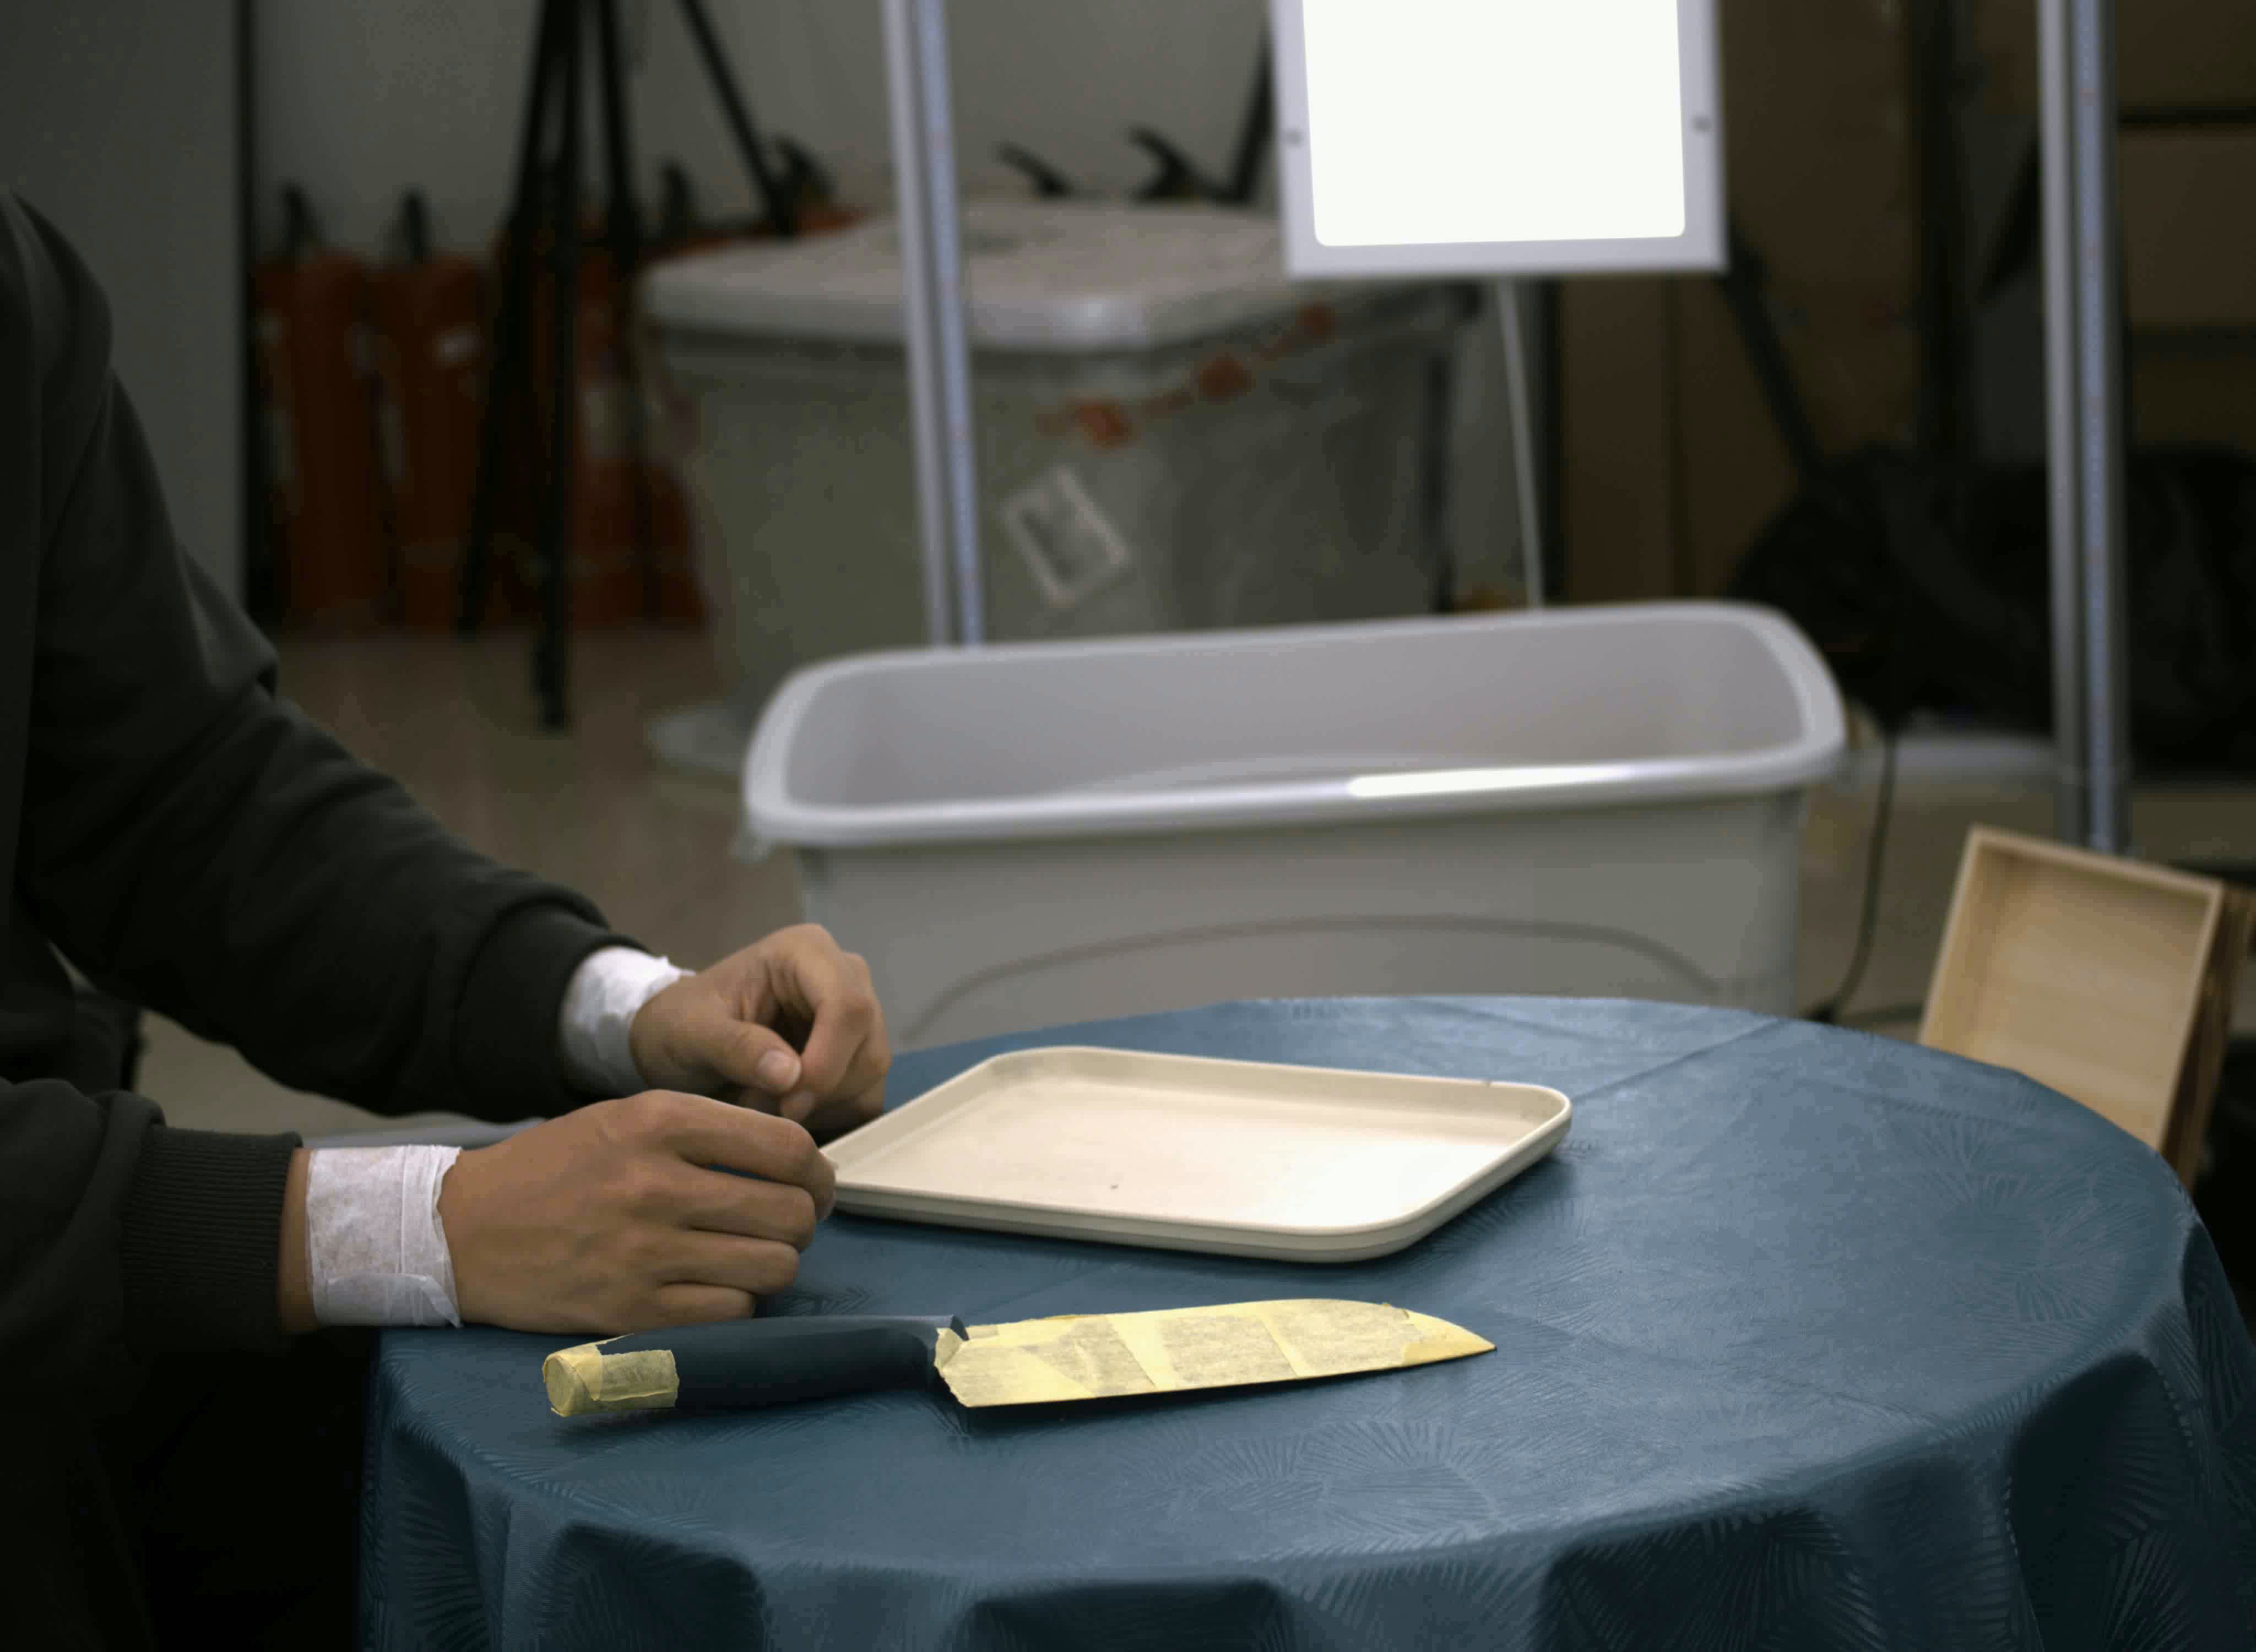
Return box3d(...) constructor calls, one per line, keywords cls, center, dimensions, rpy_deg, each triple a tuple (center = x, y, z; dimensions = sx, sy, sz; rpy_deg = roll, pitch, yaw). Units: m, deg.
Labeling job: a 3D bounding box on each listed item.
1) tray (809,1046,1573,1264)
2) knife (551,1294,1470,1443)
box3d(cls="tray", center=(0.022, 0.113, 1.911), dimensions=(0.244, 0.017, 0.167), rpy_deg=(3, 17, 32))
box3d(cls="knife", center=(-0.034, 0.168, 1.714), dimensions=(0.287, 0.027, 0.081), rpy_deg=(-6, 12, -5))
